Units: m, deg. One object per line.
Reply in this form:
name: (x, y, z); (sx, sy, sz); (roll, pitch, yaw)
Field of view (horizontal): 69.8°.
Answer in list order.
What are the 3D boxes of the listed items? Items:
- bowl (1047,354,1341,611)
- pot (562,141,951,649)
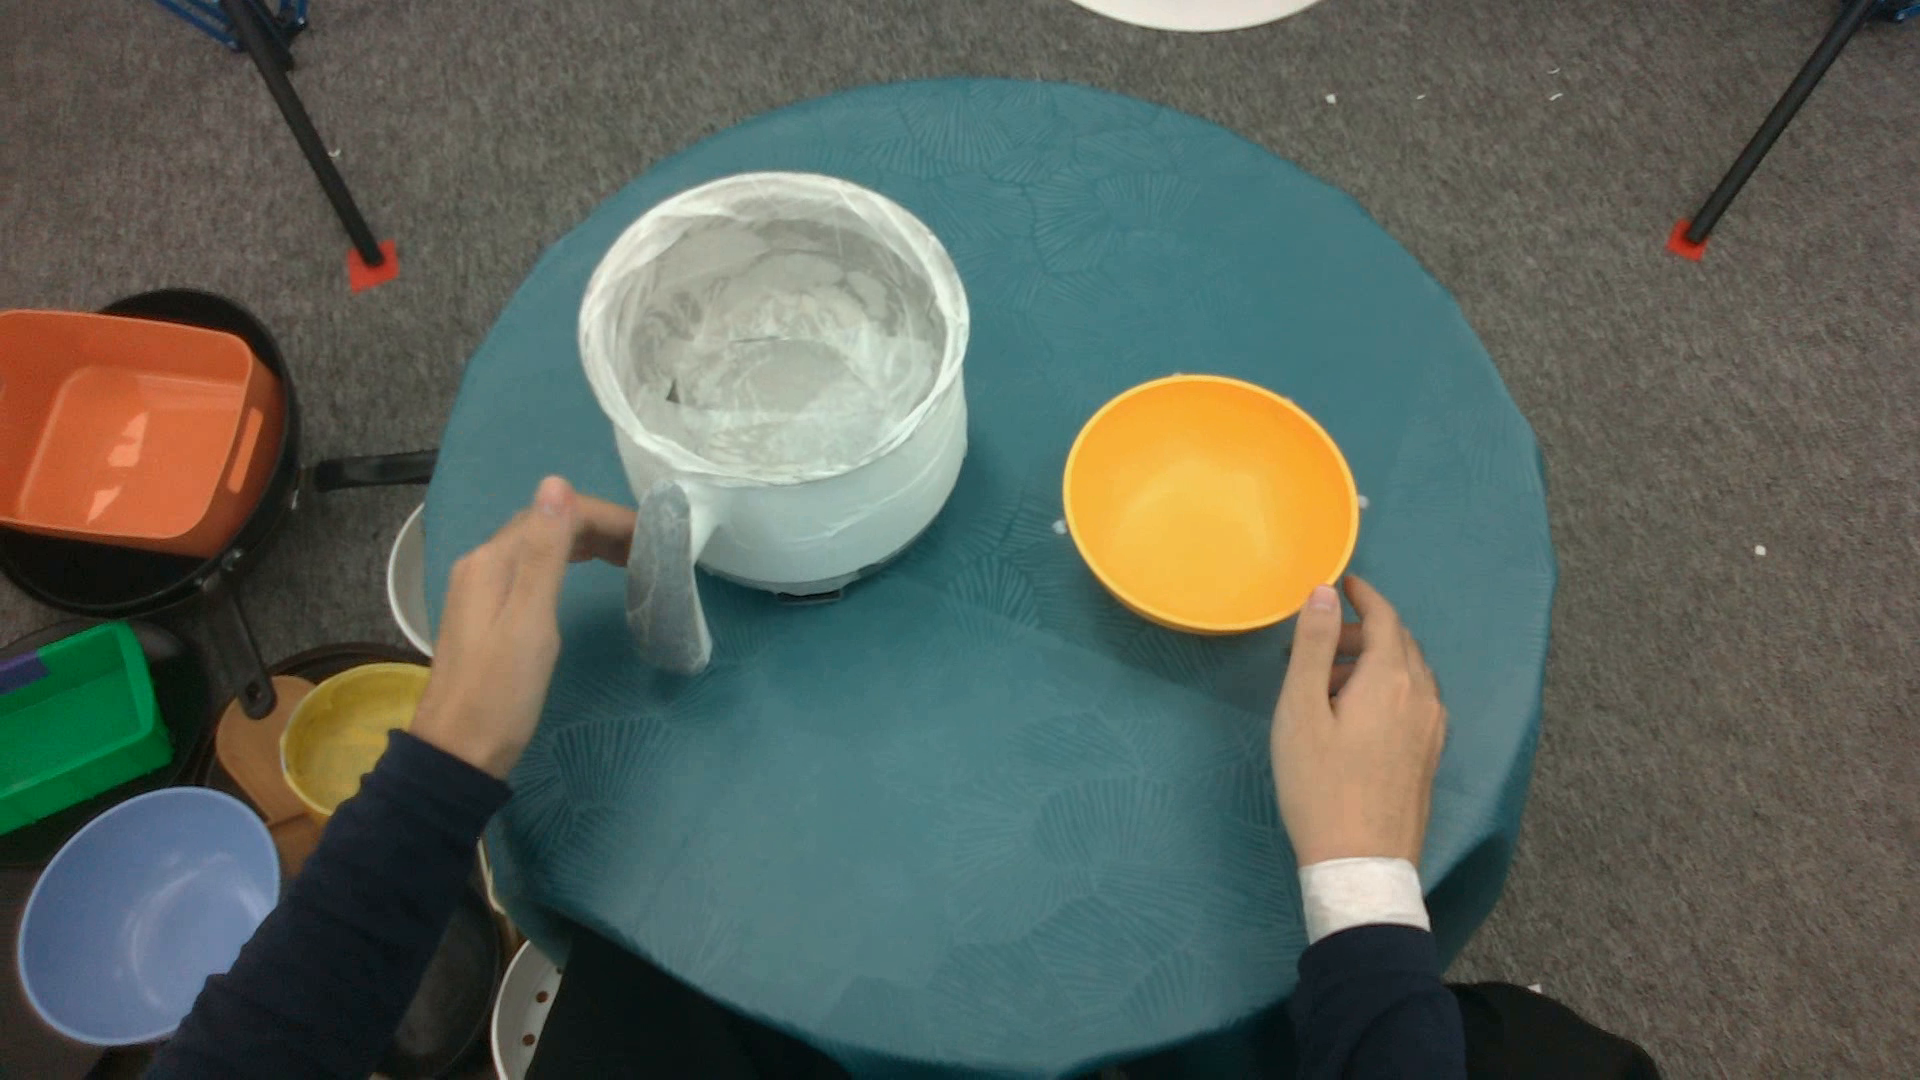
bowl: (0.115, -0.020, 0.702); (0.145, 0.060, 0.146); (1, 62, -1)
pot: (-0.103, -0.064, 0.672); (0.178, 0.136, 0.234); (20, 63, 10)
